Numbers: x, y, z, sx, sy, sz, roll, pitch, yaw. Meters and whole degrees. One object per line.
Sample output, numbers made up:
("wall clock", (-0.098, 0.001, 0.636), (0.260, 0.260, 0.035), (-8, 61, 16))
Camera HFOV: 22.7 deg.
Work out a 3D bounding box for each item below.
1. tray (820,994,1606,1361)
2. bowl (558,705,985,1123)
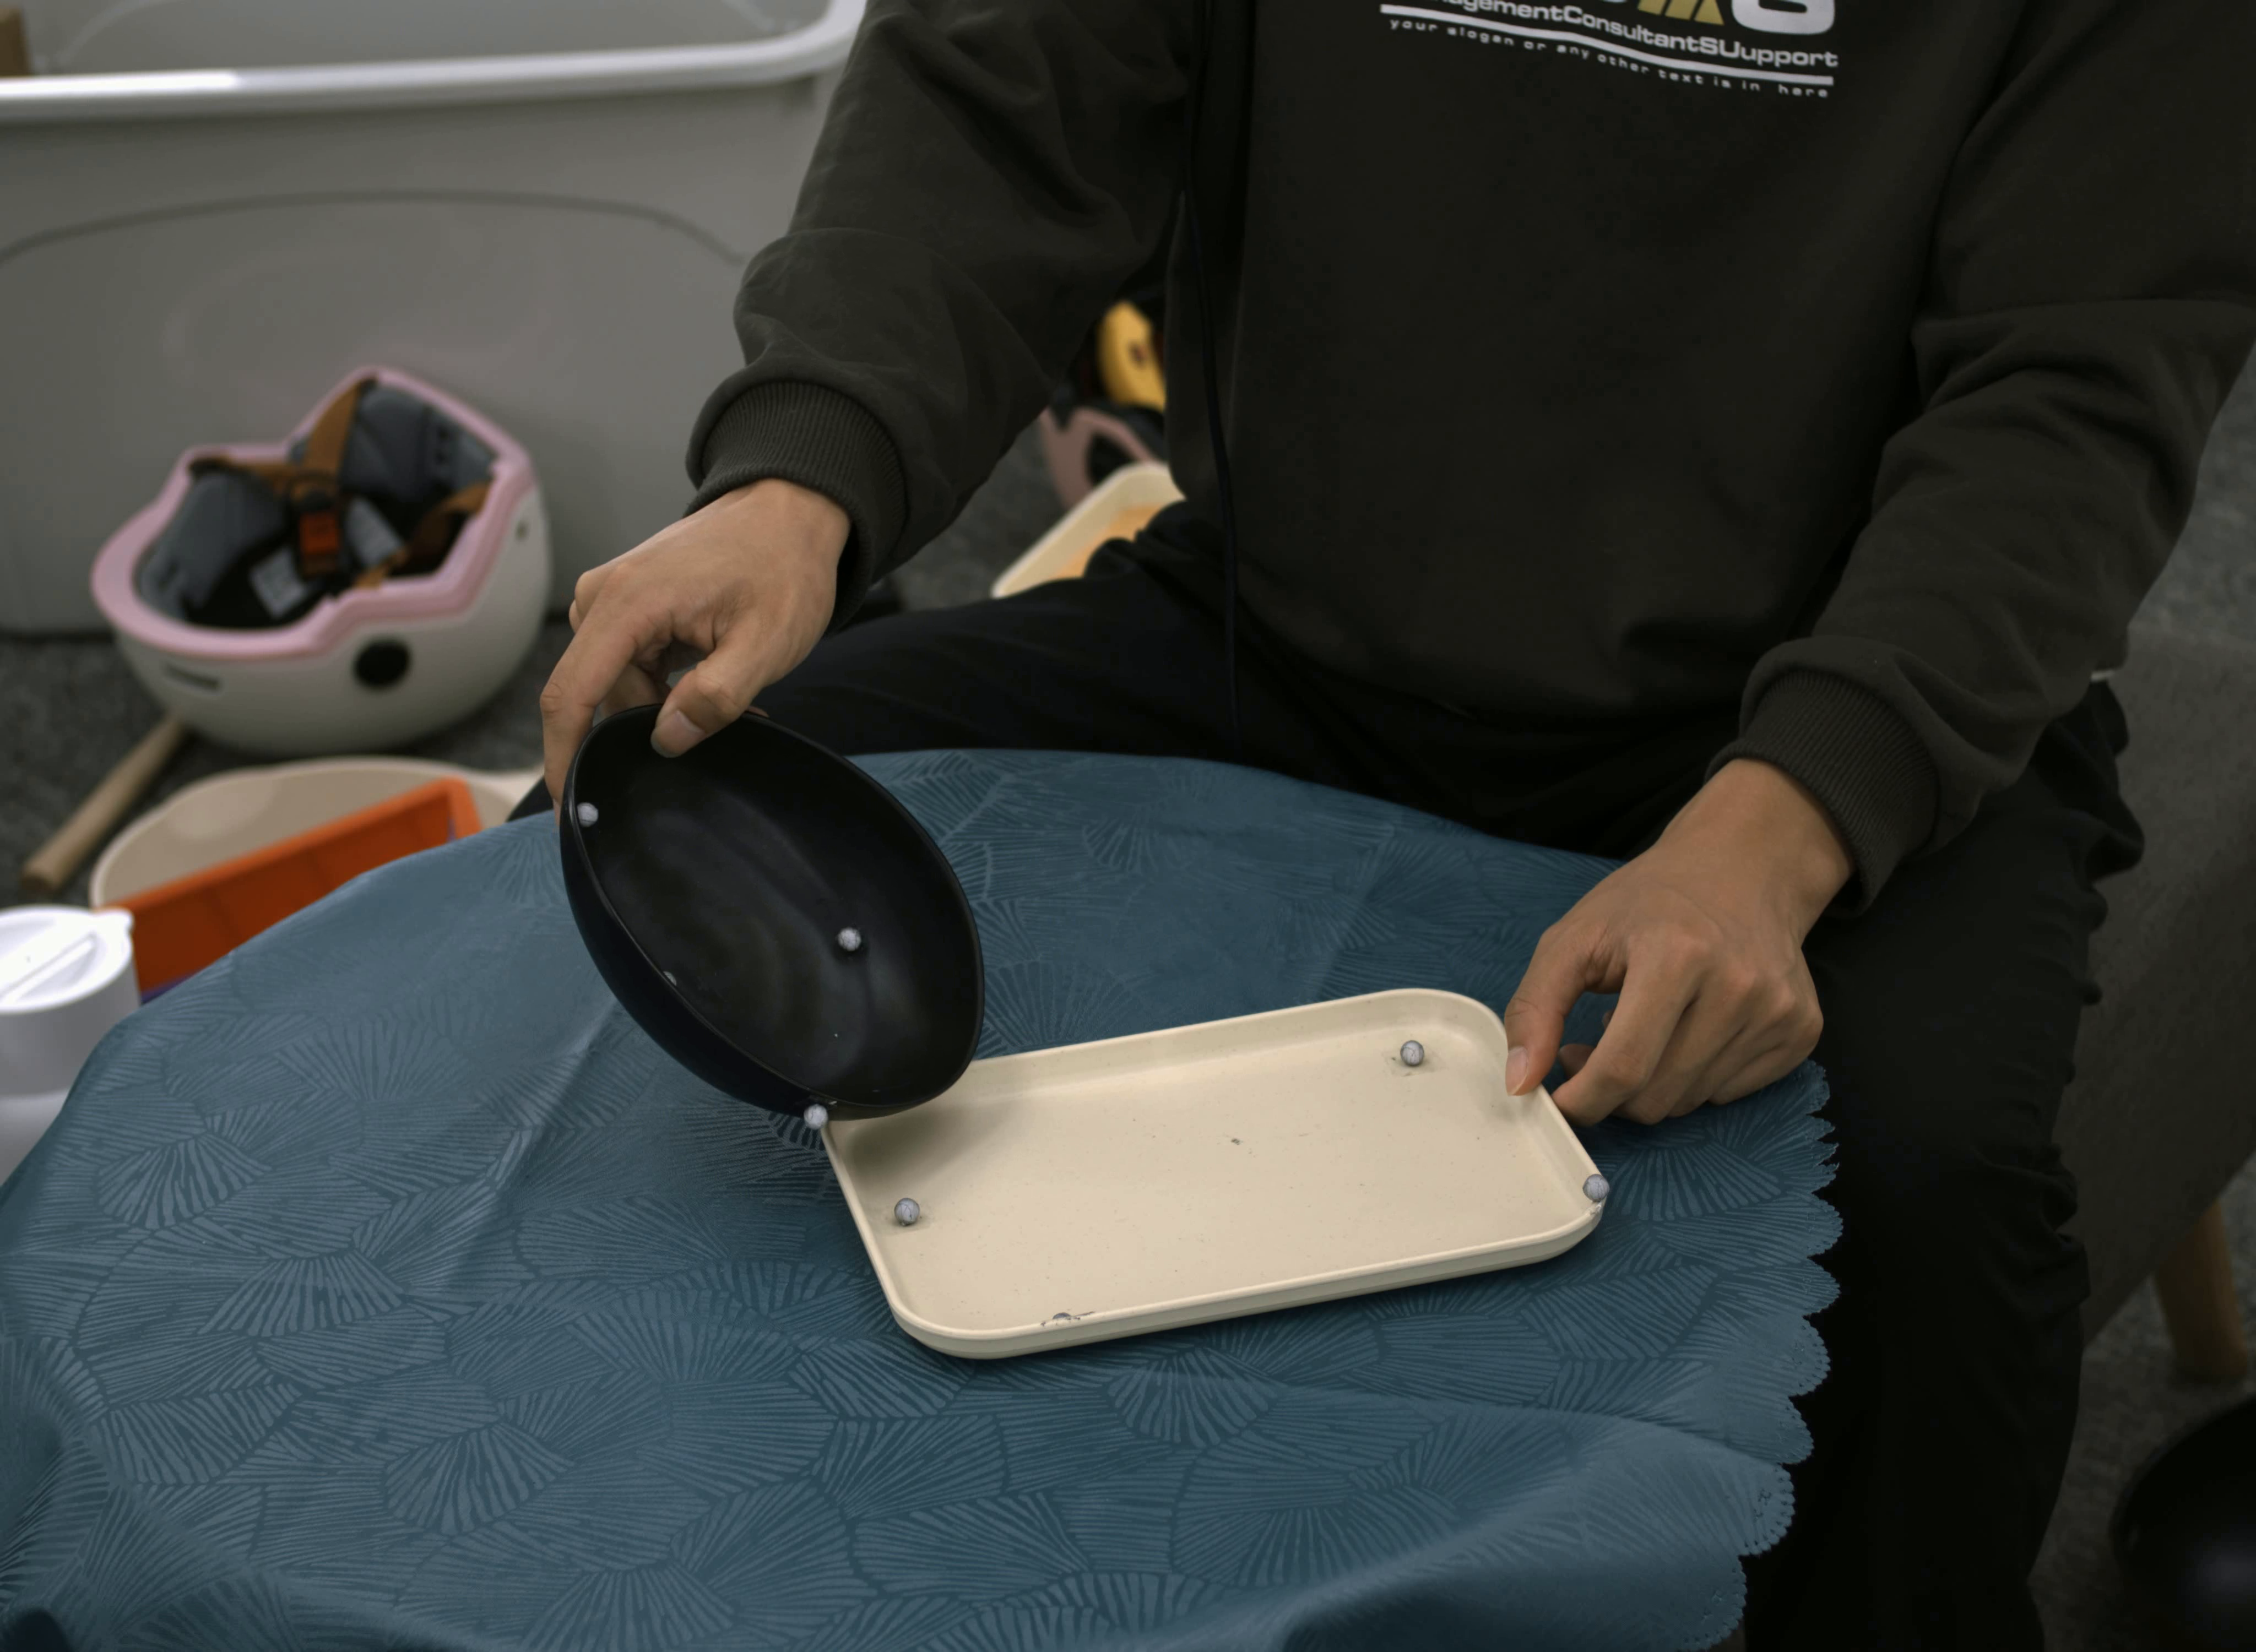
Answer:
("tray", (0.026, 0.116, 1.856), (0.239, 0.017, 0.173), (-9, 27, -12))
("bowl", (-0.130, 0.039, 1.892), (0.170, 0.065, 0.140), (44, 41, -2))
